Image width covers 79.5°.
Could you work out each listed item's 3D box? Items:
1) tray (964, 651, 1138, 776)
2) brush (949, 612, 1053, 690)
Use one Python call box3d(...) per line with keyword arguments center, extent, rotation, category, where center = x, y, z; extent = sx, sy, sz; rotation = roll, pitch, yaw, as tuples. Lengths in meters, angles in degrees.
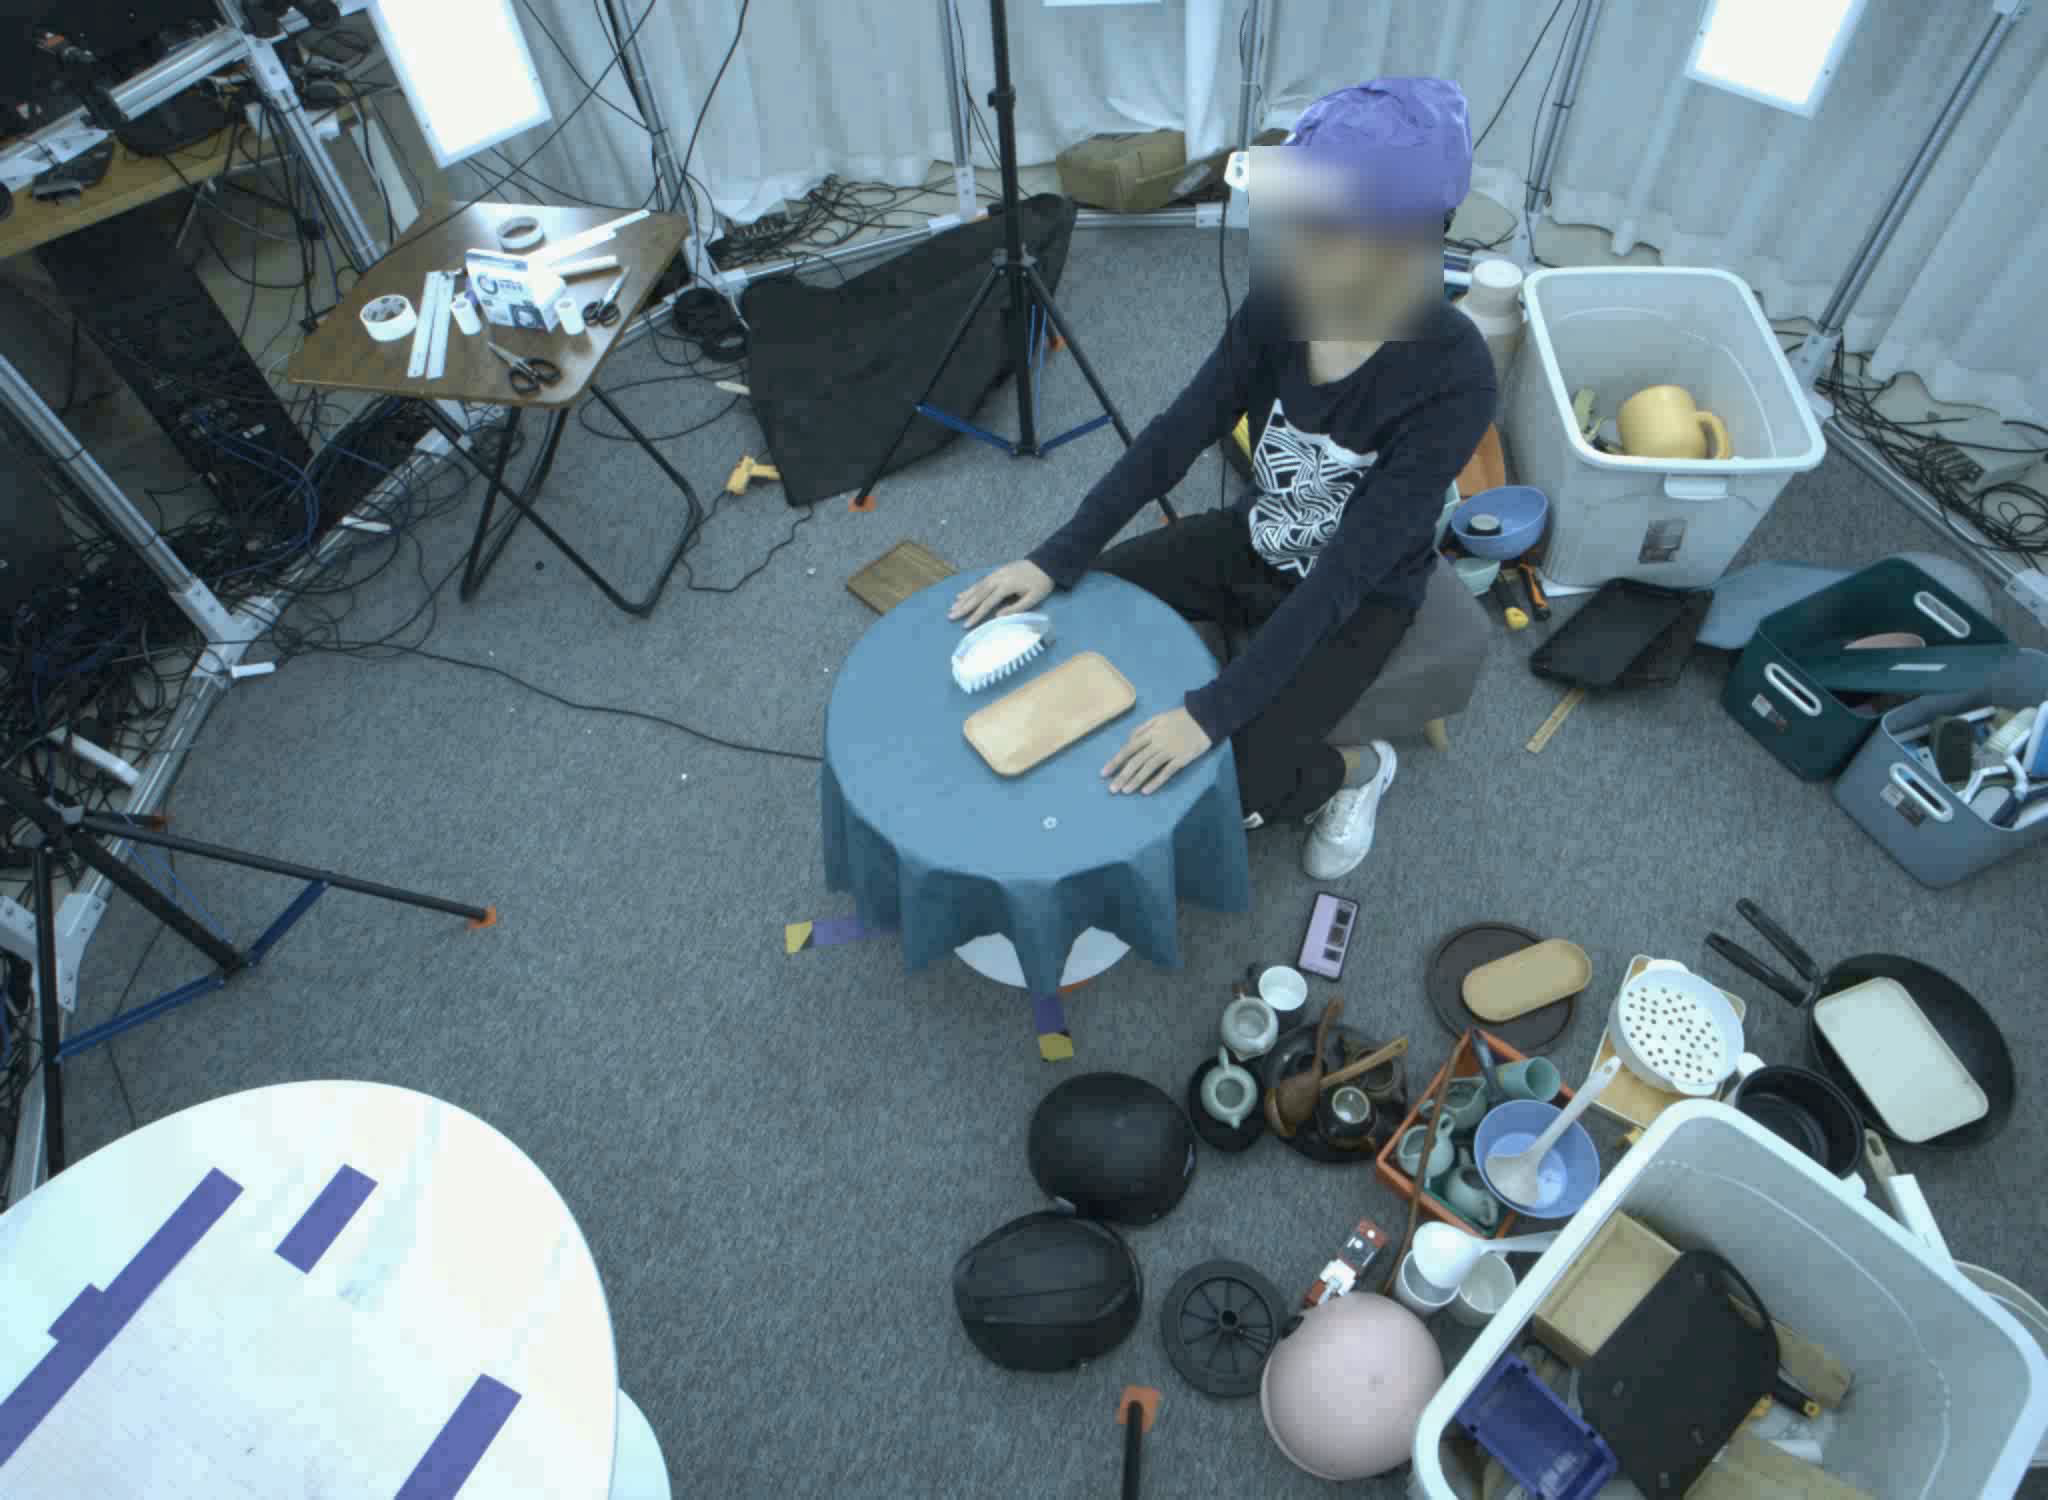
box3d(center=(0.041, -0.055, 1.807), extent=(0.253, 0.023, 0.128), rotation=(-29, 61, -19), category="tray")
box3d(center=(-0.031, -0.167, 1.843), extent=(0.177, 0.095, 0.060), rotation=(-27, 58, -18), category="brush")
